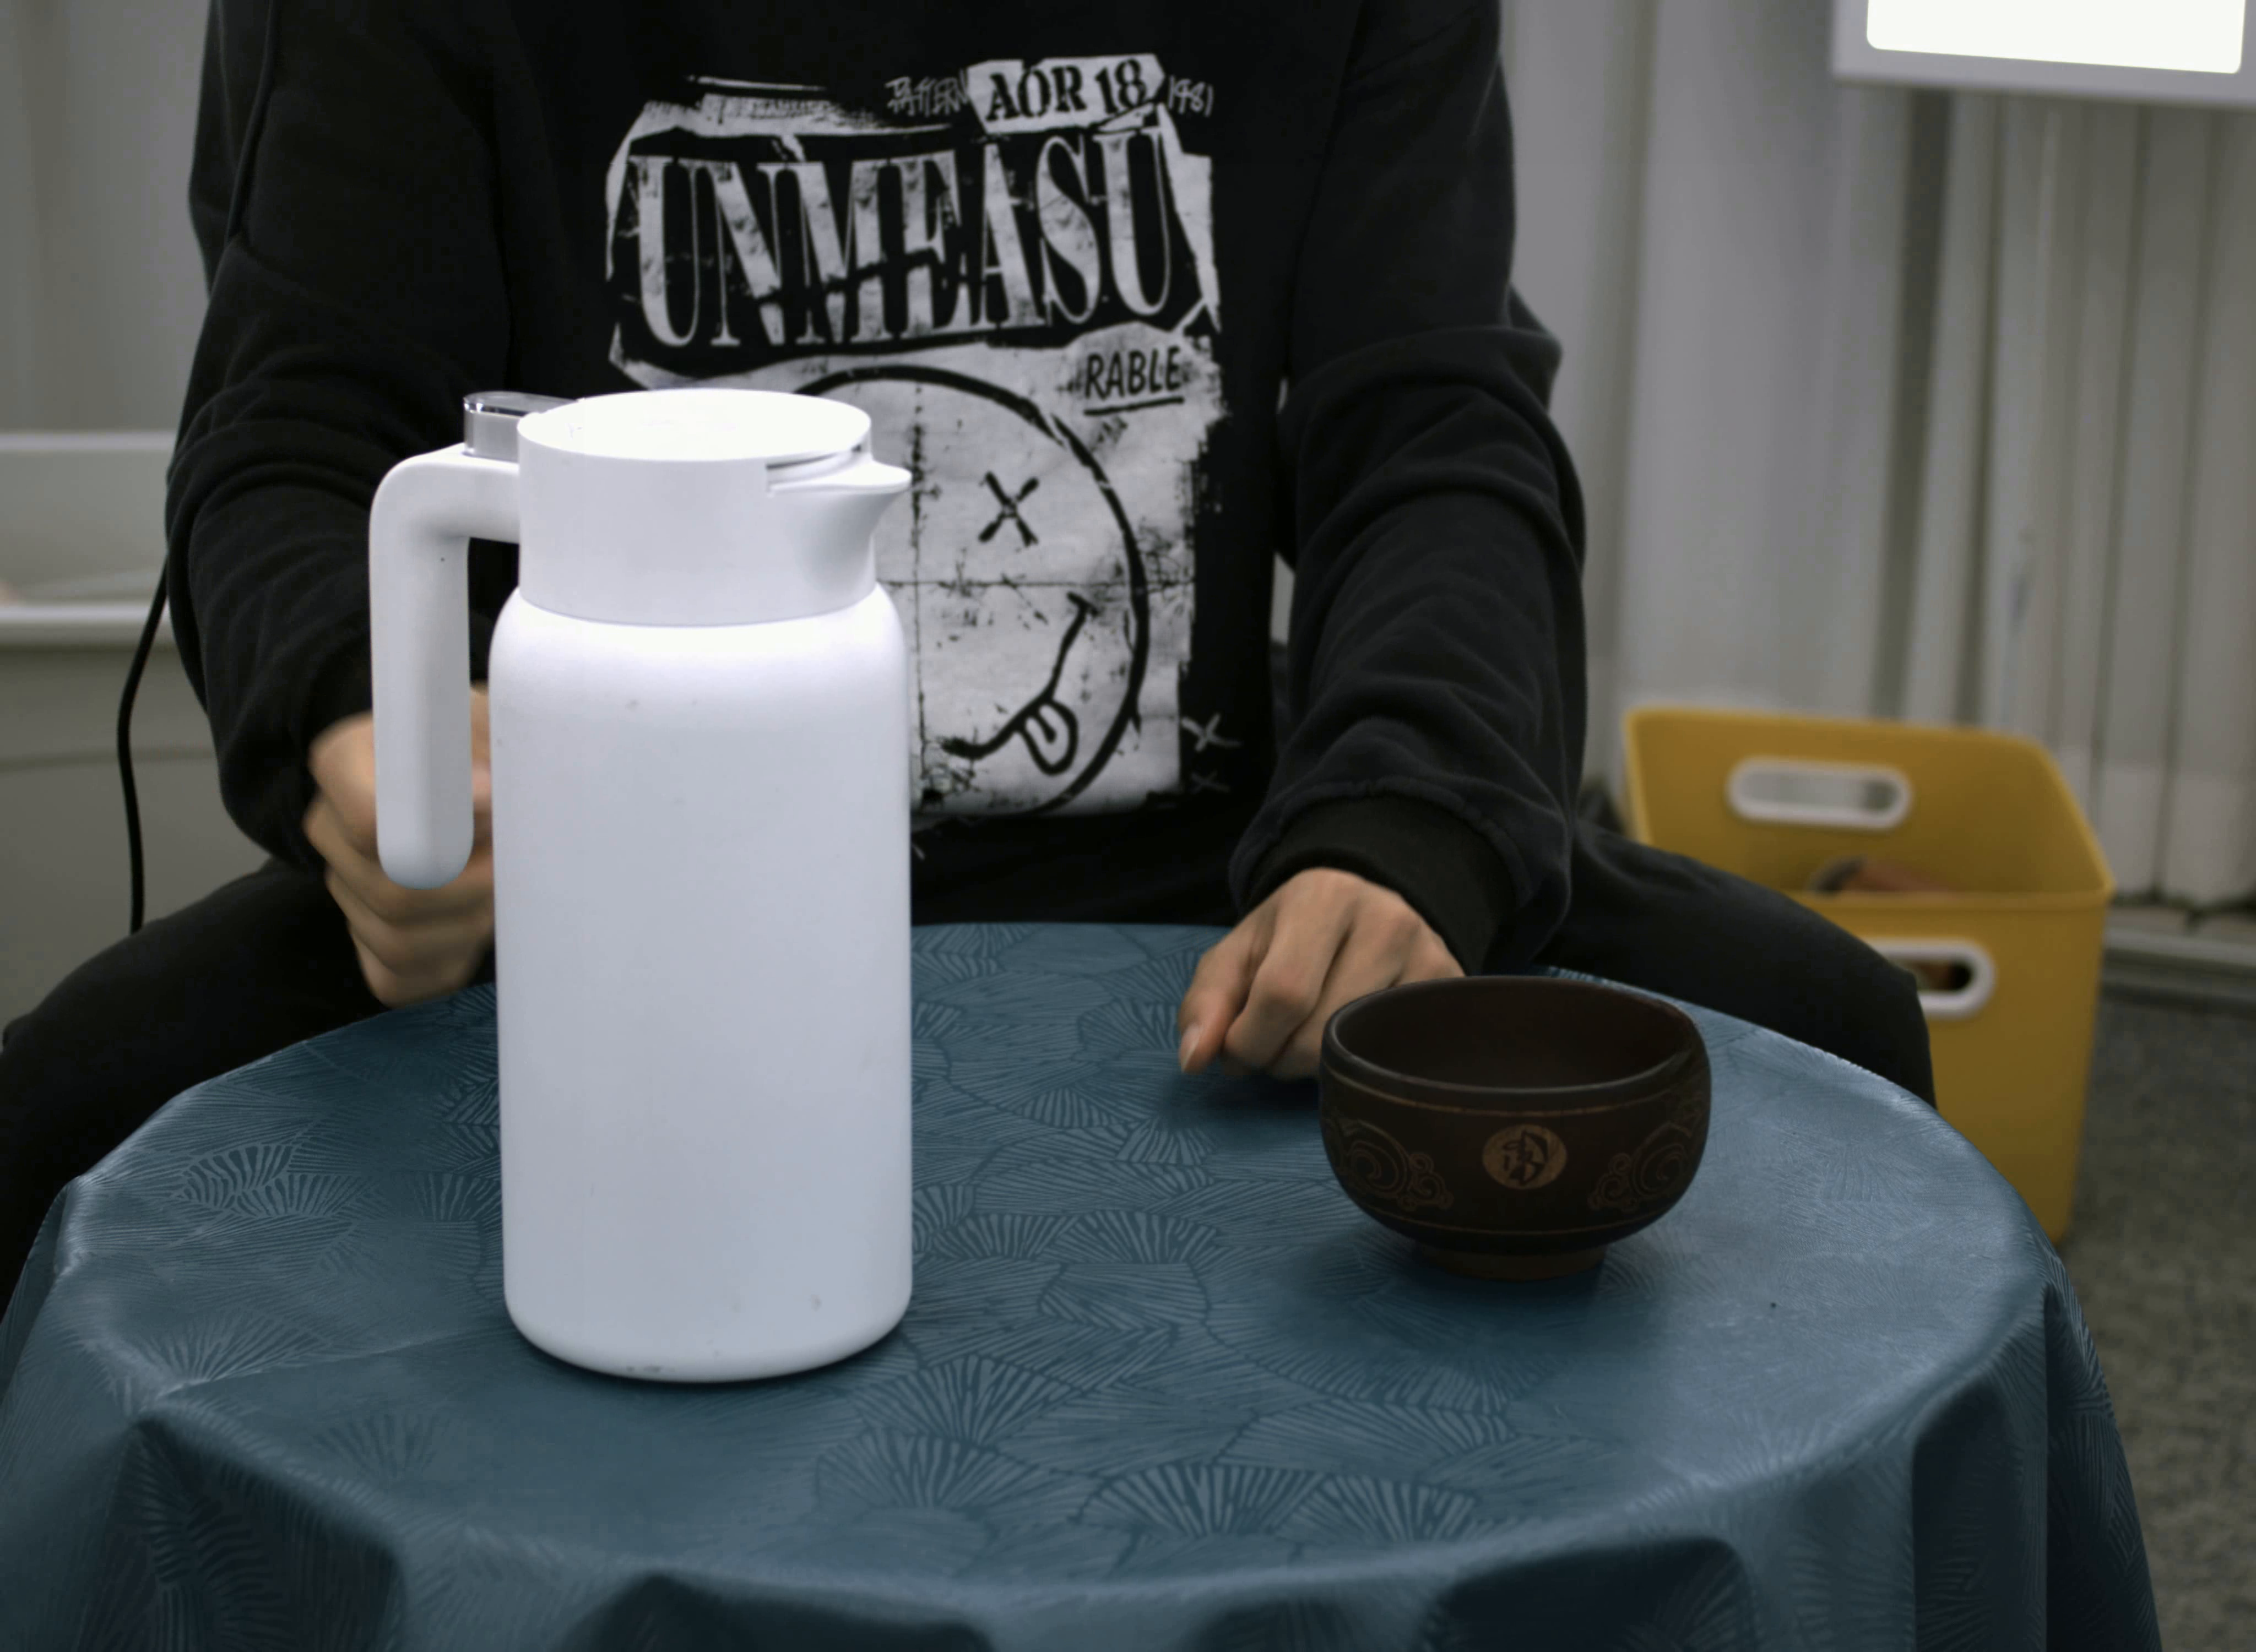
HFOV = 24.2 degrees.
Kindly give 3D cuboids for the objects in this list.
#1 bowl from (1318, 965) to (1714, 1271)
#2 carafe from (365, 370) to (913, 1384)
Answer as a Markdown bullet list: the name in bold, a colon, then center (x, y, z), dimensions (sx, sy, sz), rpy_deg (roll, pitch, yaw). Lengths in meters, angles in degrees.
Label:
- **bowl**: center (0.115, 0.090, 1.565), dimensions (0.117, 0.070, 0.117), rpy_deg (0, 15, 1)
- **carafe**: center (-0.136, 0.012, 1.479), dimensions (0.171, 0.271, 0.124), rpy_deg (8, 20, 26)
